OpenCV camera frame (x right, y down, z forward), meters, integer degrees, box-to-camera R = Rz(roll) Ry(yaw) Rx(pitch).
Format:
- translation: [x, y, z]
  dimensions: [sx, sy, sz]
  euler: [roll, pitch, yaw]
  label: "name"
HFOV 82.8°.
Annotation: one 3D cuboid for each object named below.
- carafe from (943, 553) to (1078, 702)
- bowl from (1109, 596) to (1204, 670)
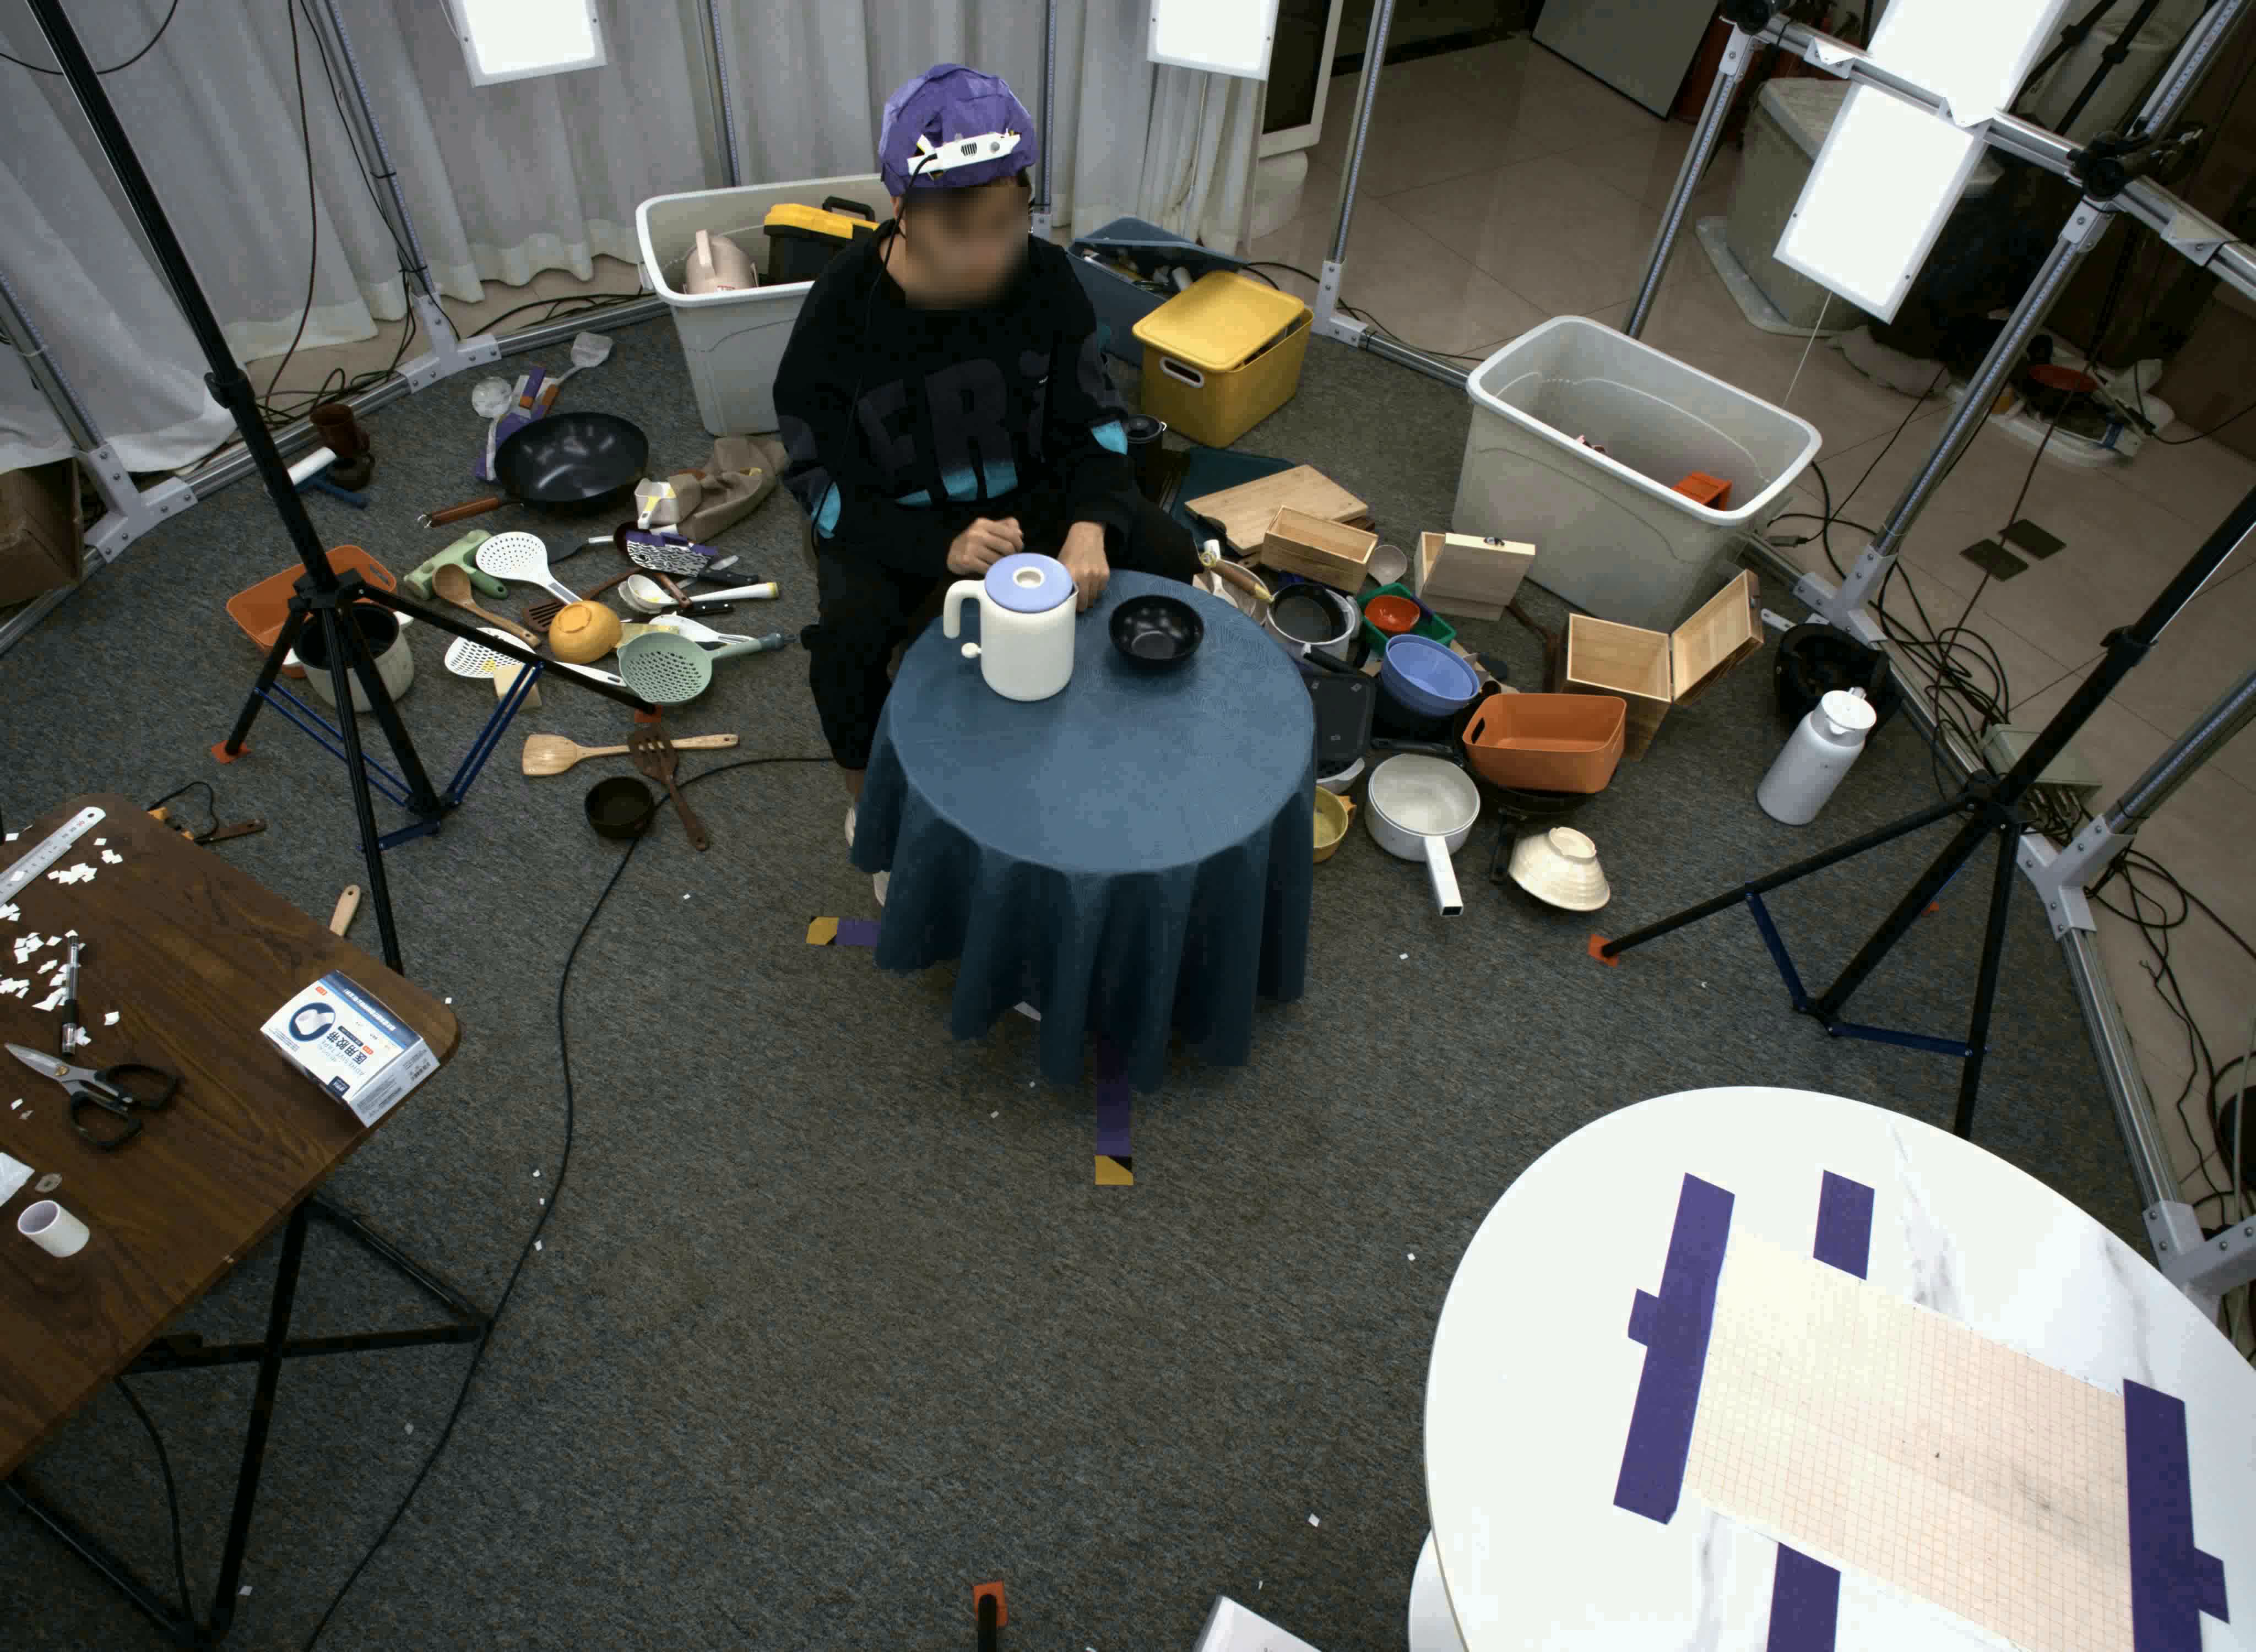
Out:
- translation: [-0.163, -0.277, 1.789]
  dimensions: [0.191, 0.178, 0.135]
  euler: [5, 48, 4]
  label: "carafe"
- translation: [0.041, -0.274, 1.877]
  dimensions: [0.140, 0.048, 0.143]
  euler: [1, 48, -1]
  label: "bowl"
